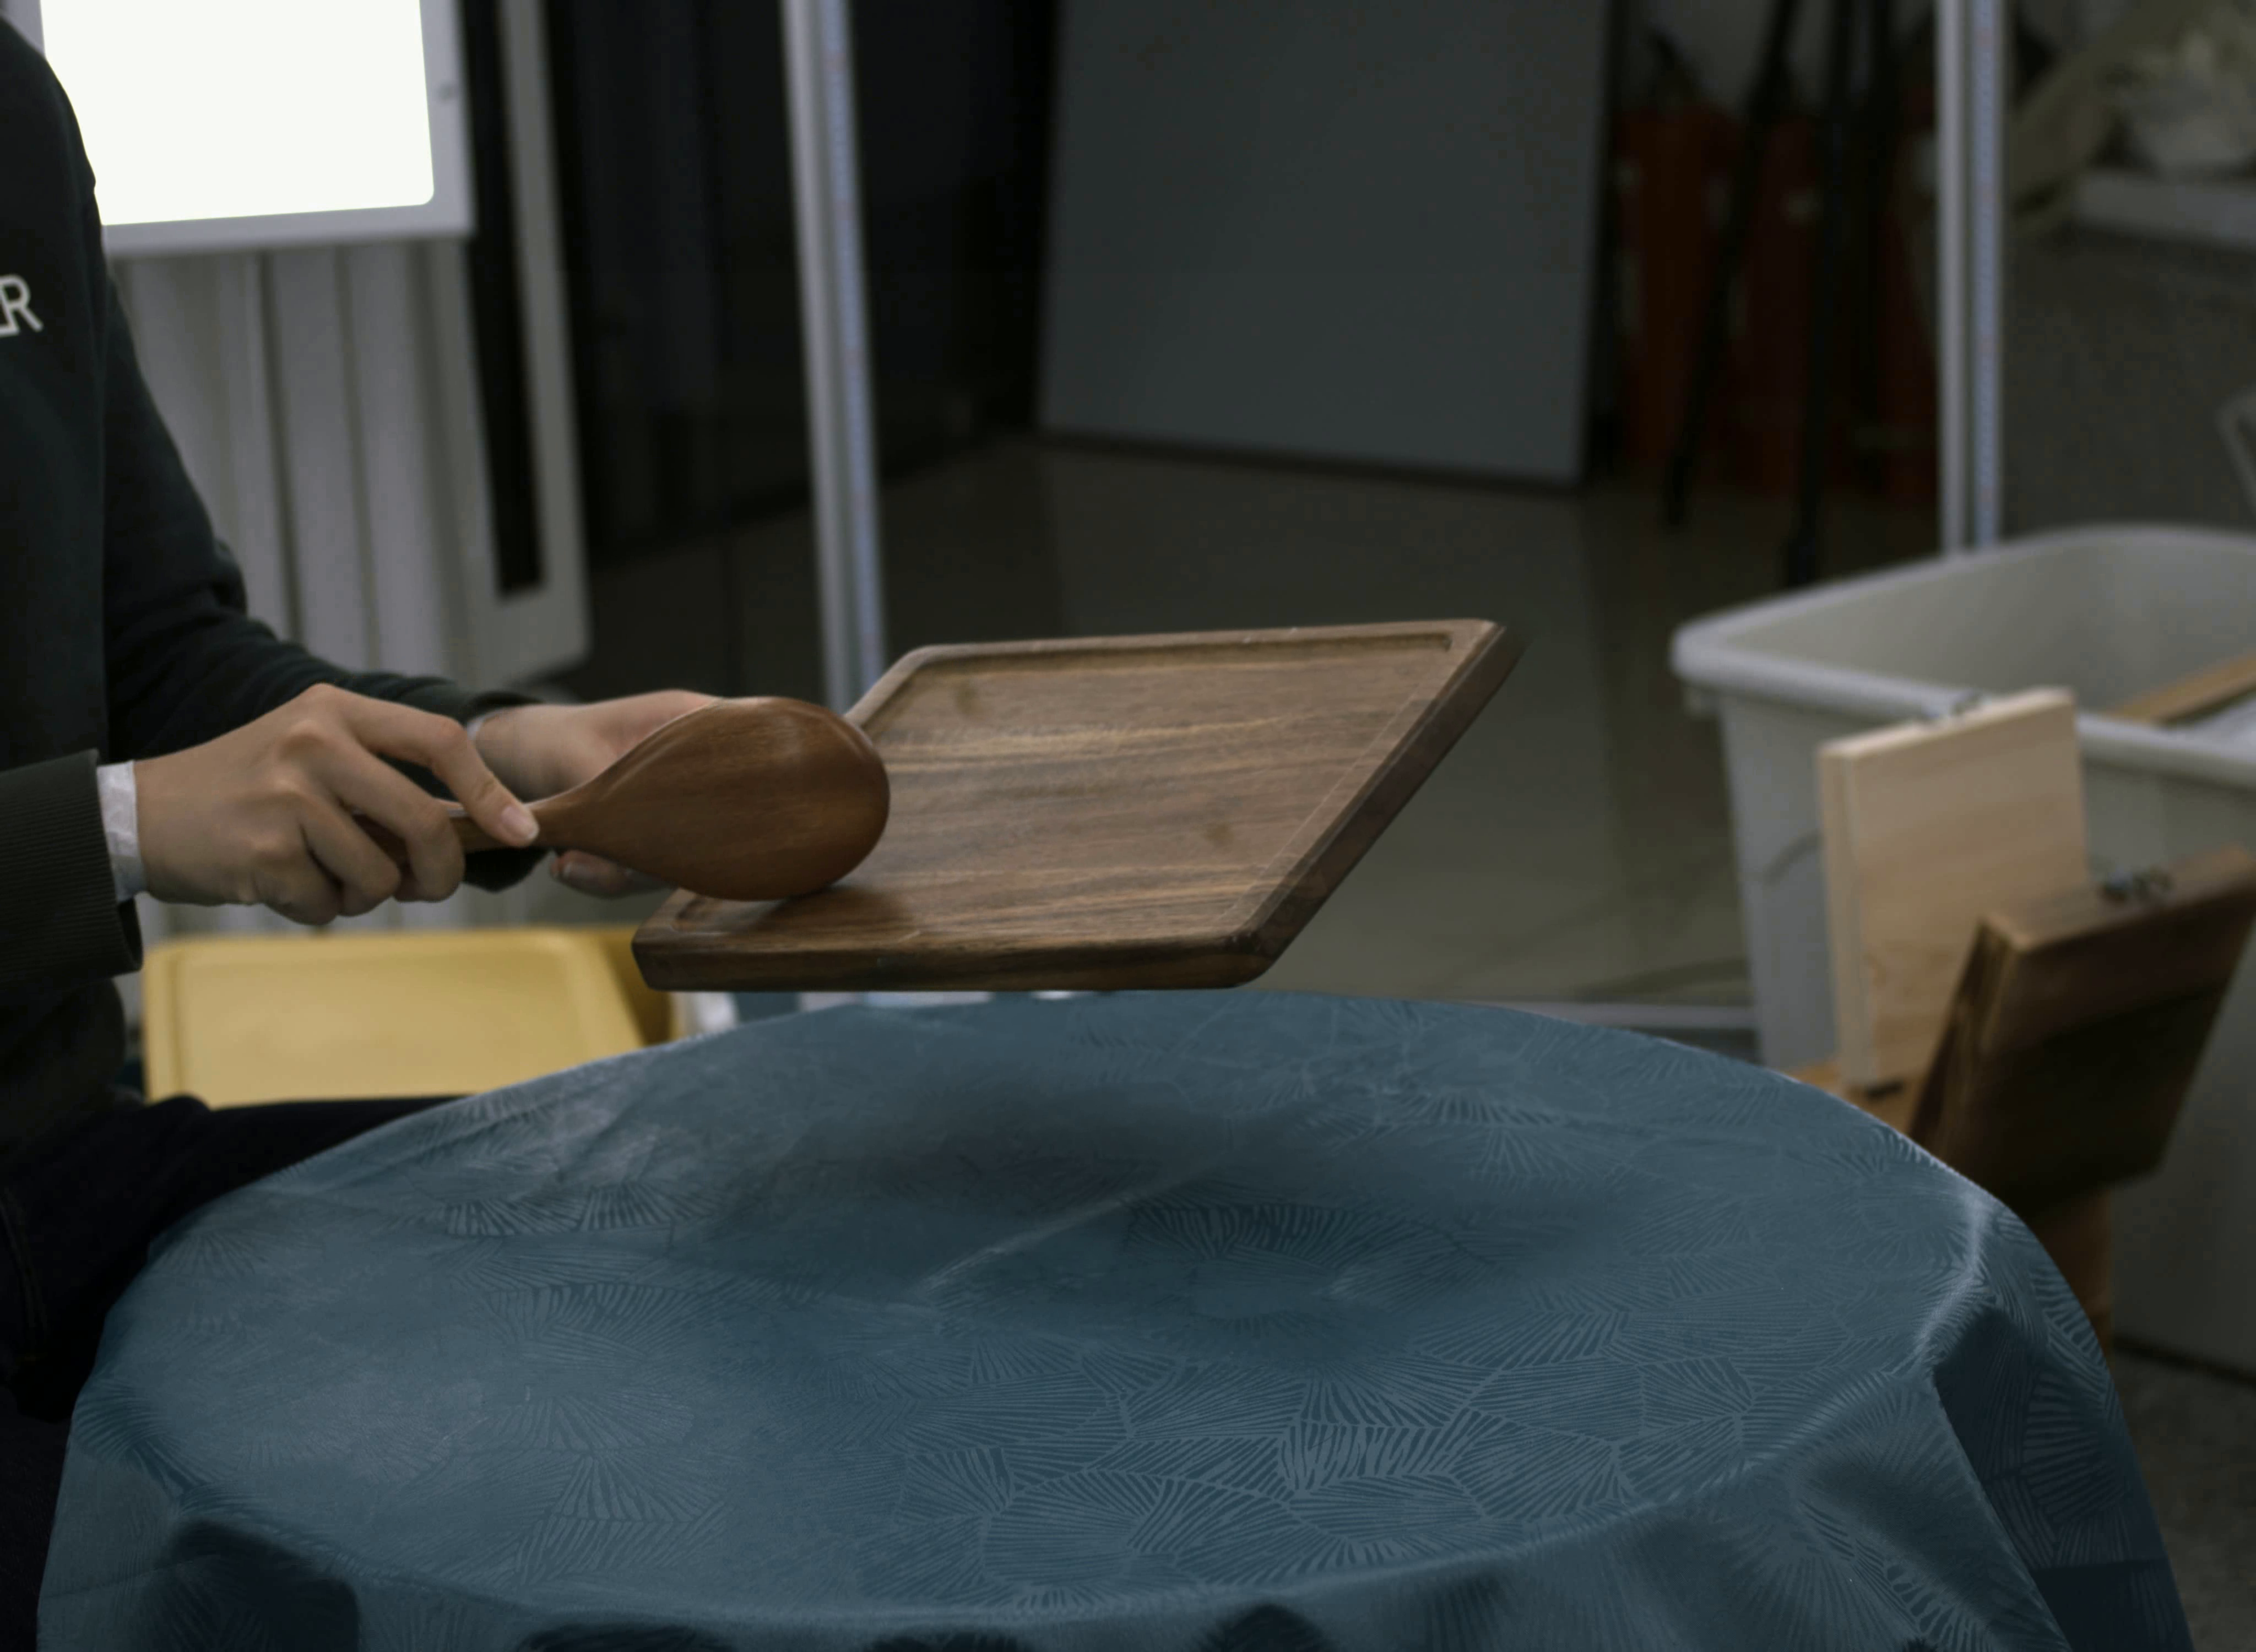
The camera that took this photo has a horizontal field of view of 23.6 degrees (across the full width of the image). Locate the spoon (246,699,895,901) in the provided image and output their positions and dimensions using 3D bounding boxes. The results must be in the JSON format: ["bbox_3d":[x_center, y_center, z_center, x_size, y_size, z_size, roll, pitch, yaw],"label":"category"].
[{"bbox_3d":[-0.182,0.000,1.769,0.213,0.076,0.017,-5,29,5],"label":"spoon"}]

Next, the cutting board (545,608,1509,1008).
[{"bbox_3d":[-0.058,-0.004,1.812,0.354,0.023,0.199,-3,33,37],"label":"cutting board"}]
